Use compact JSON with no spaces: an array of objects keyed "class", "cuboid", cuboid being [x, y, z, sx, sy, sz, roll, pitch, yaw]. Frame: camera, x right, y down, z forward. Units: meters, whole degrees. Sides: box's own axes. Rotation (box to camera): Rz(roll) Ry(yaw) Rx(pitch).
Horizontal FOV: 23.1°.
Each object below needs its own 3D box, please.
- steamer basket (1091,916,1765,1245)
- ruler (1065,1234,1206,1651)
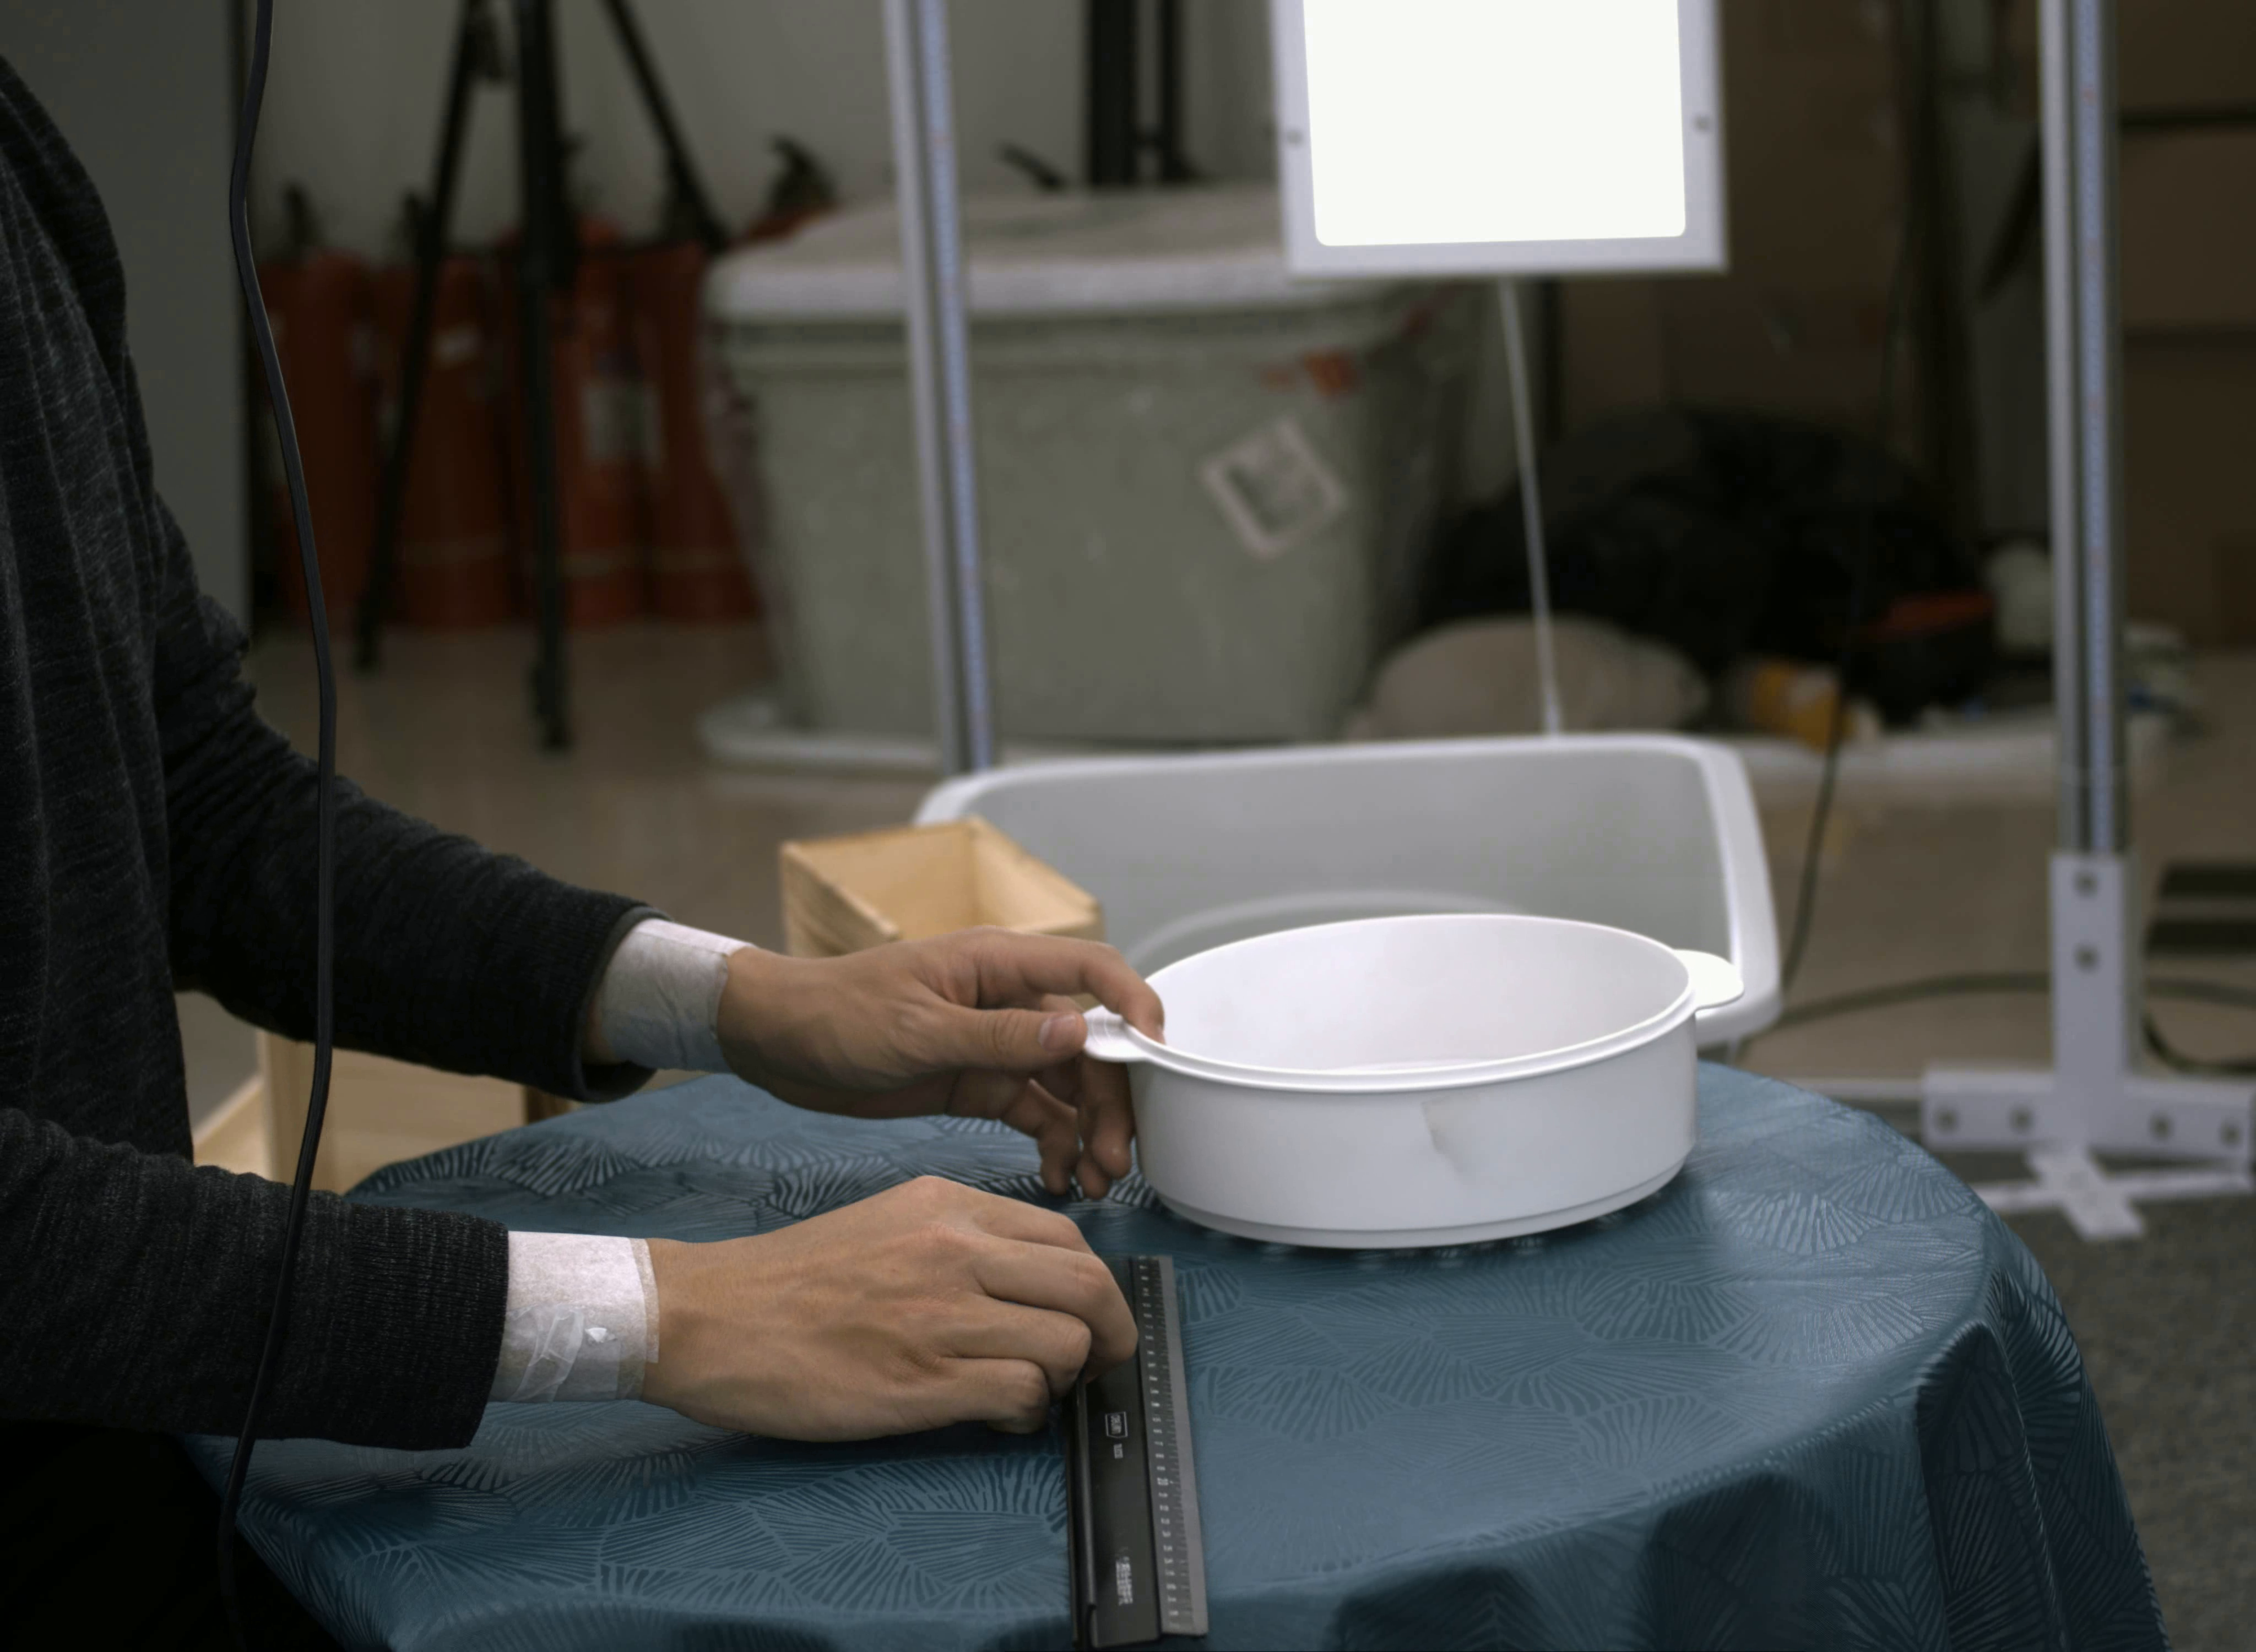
[{"class":"steamer basket","cuboid":[0.104,0.086,1.879,0.229,0.069,0.202,-4,13,-3]},{"class":"ruler","cuboid":[0.001,0.177,1.645,0.039,0.017,0.312,-6,15,1]}]
